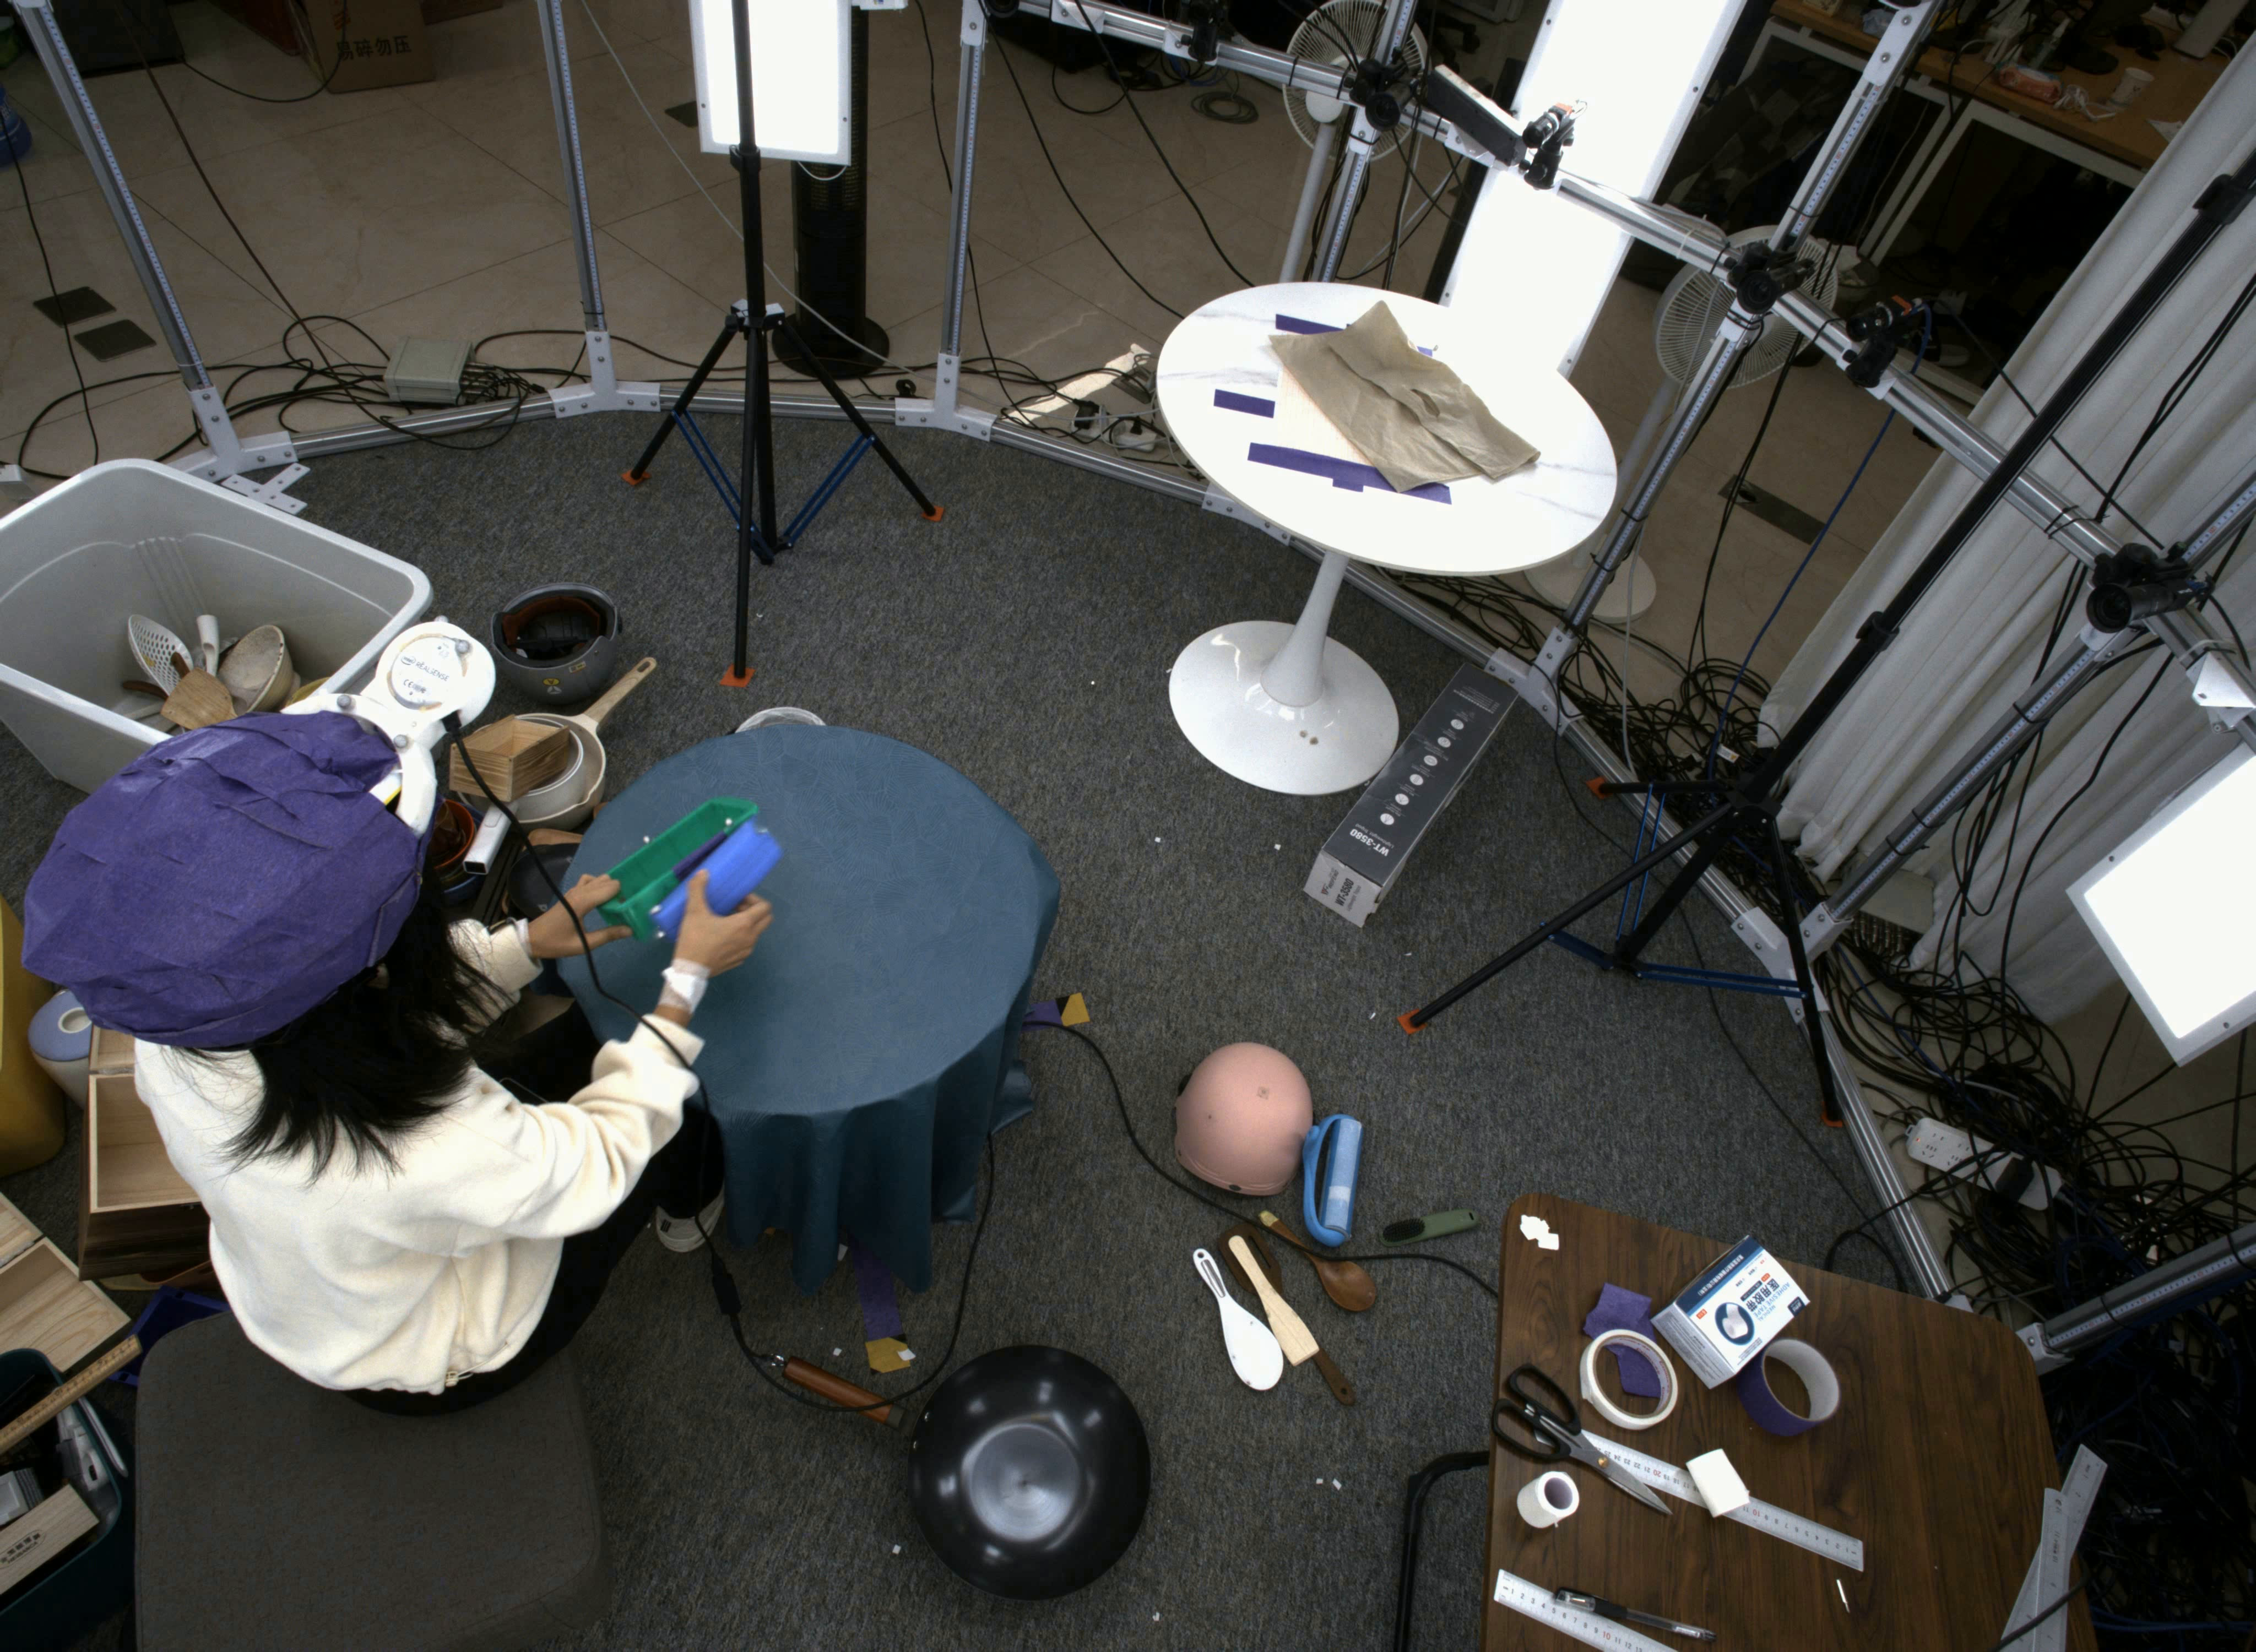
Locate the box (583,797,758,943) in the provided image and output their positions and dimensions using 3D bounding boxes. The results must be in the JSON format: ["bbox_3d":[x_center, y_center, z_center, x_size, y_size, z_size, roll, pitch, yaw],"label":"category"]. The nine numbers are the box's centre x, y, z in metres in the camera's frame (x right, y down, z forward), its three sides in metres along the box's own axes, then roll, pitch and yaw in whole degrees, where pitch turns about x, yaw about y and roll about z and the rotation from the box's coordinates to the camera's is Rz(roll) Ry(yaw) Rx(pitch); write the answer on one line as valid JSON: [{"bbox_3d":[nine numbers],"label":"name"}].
[{"bbox_3d":[-0.517,0.048,1.484,0.134,0.067,0.210,7,39,47],"label":"box"}]

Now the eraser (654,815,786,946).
[{"bbox_3d":[-0.449,0.058,1.432,0.046,0.056,0.162,11,52,47],"label":"eraser"}]
